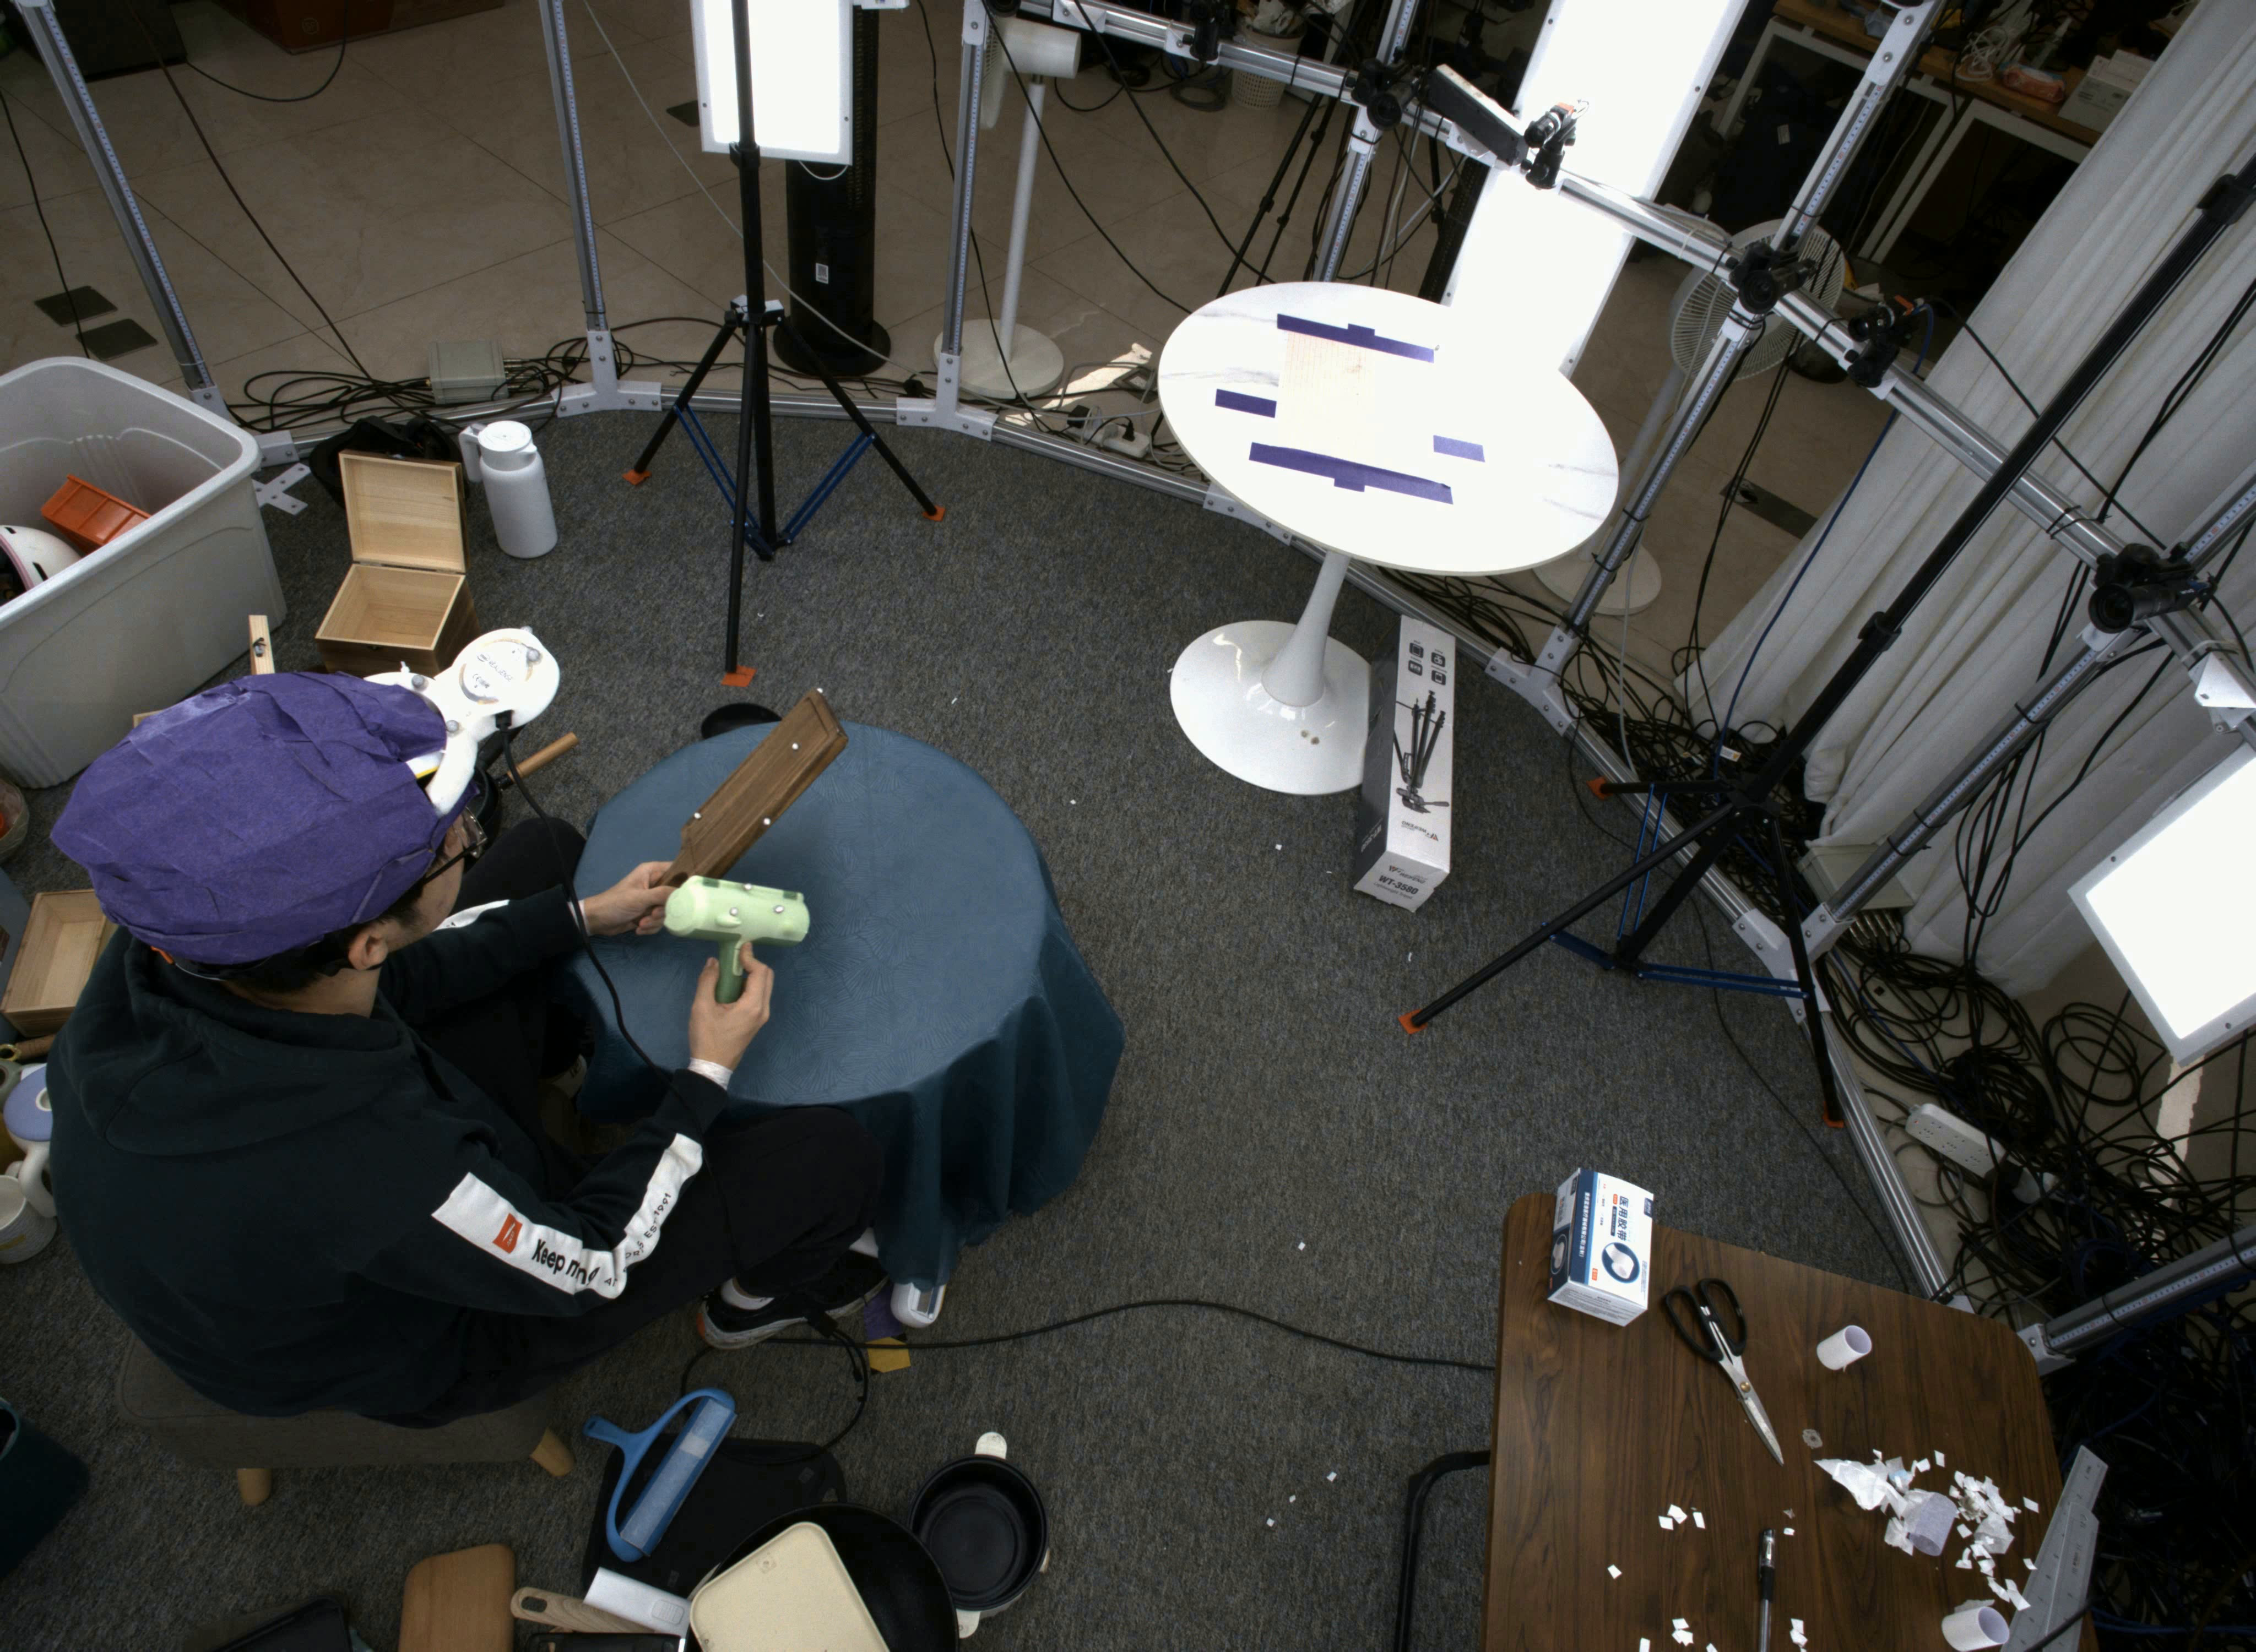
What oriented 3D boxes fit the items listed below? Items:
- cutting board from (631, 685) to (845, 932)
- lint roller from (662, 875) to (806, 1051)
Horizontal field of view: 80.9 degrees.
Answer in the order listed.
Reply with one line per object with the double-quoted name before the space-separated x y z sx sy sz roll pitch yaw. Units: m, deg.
"cutting board" -0.477 -0.014 1.550 0.352 0.024 0.194 -48 30 1
"lint roller" -0.435 0.156 1.447 0.080 0.203 0.184 -2 81 23
